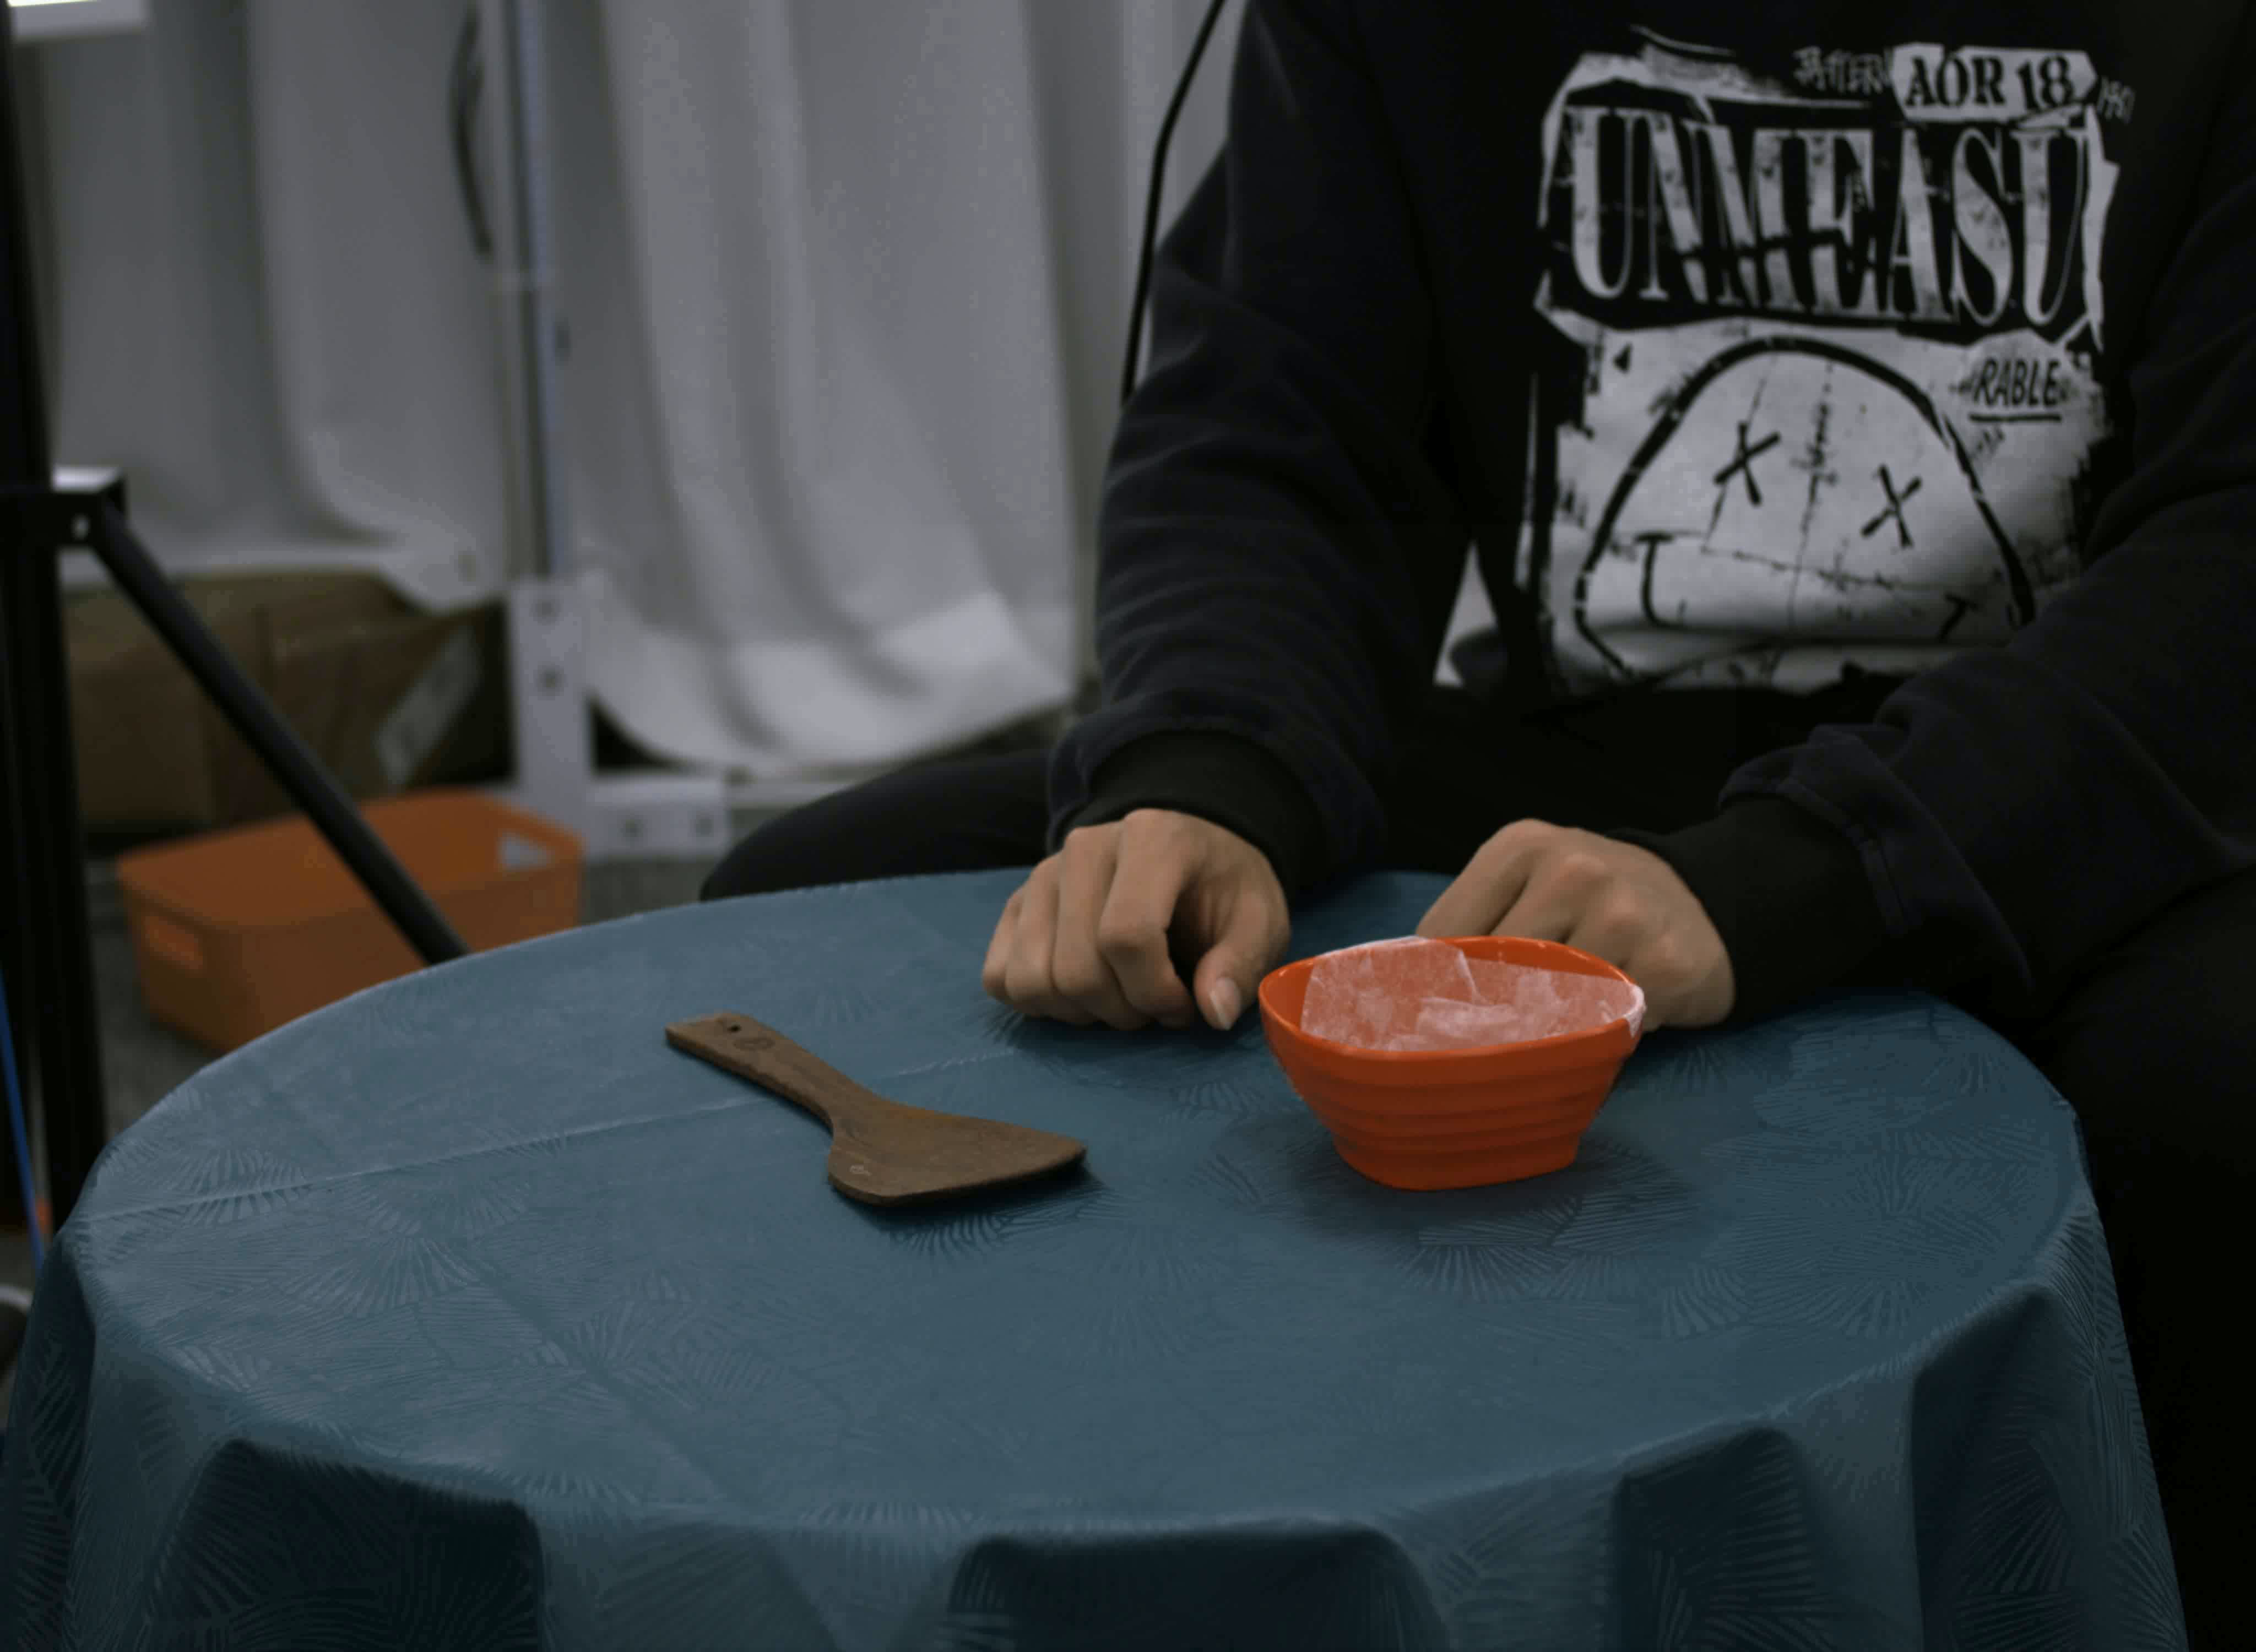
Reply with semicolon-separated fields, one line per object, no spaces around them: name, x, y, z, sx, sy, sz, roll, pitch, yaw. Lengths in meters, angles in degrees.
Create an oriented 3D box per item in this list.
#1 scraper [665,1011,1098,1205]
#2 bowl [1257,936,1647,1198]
scraper;-0.088;0.085;1.639;0.074;0.011;0.216;-10;16;-28
bowl;0.097;0.074;1.573;0.118;0.051;0.119;-4;16;0
